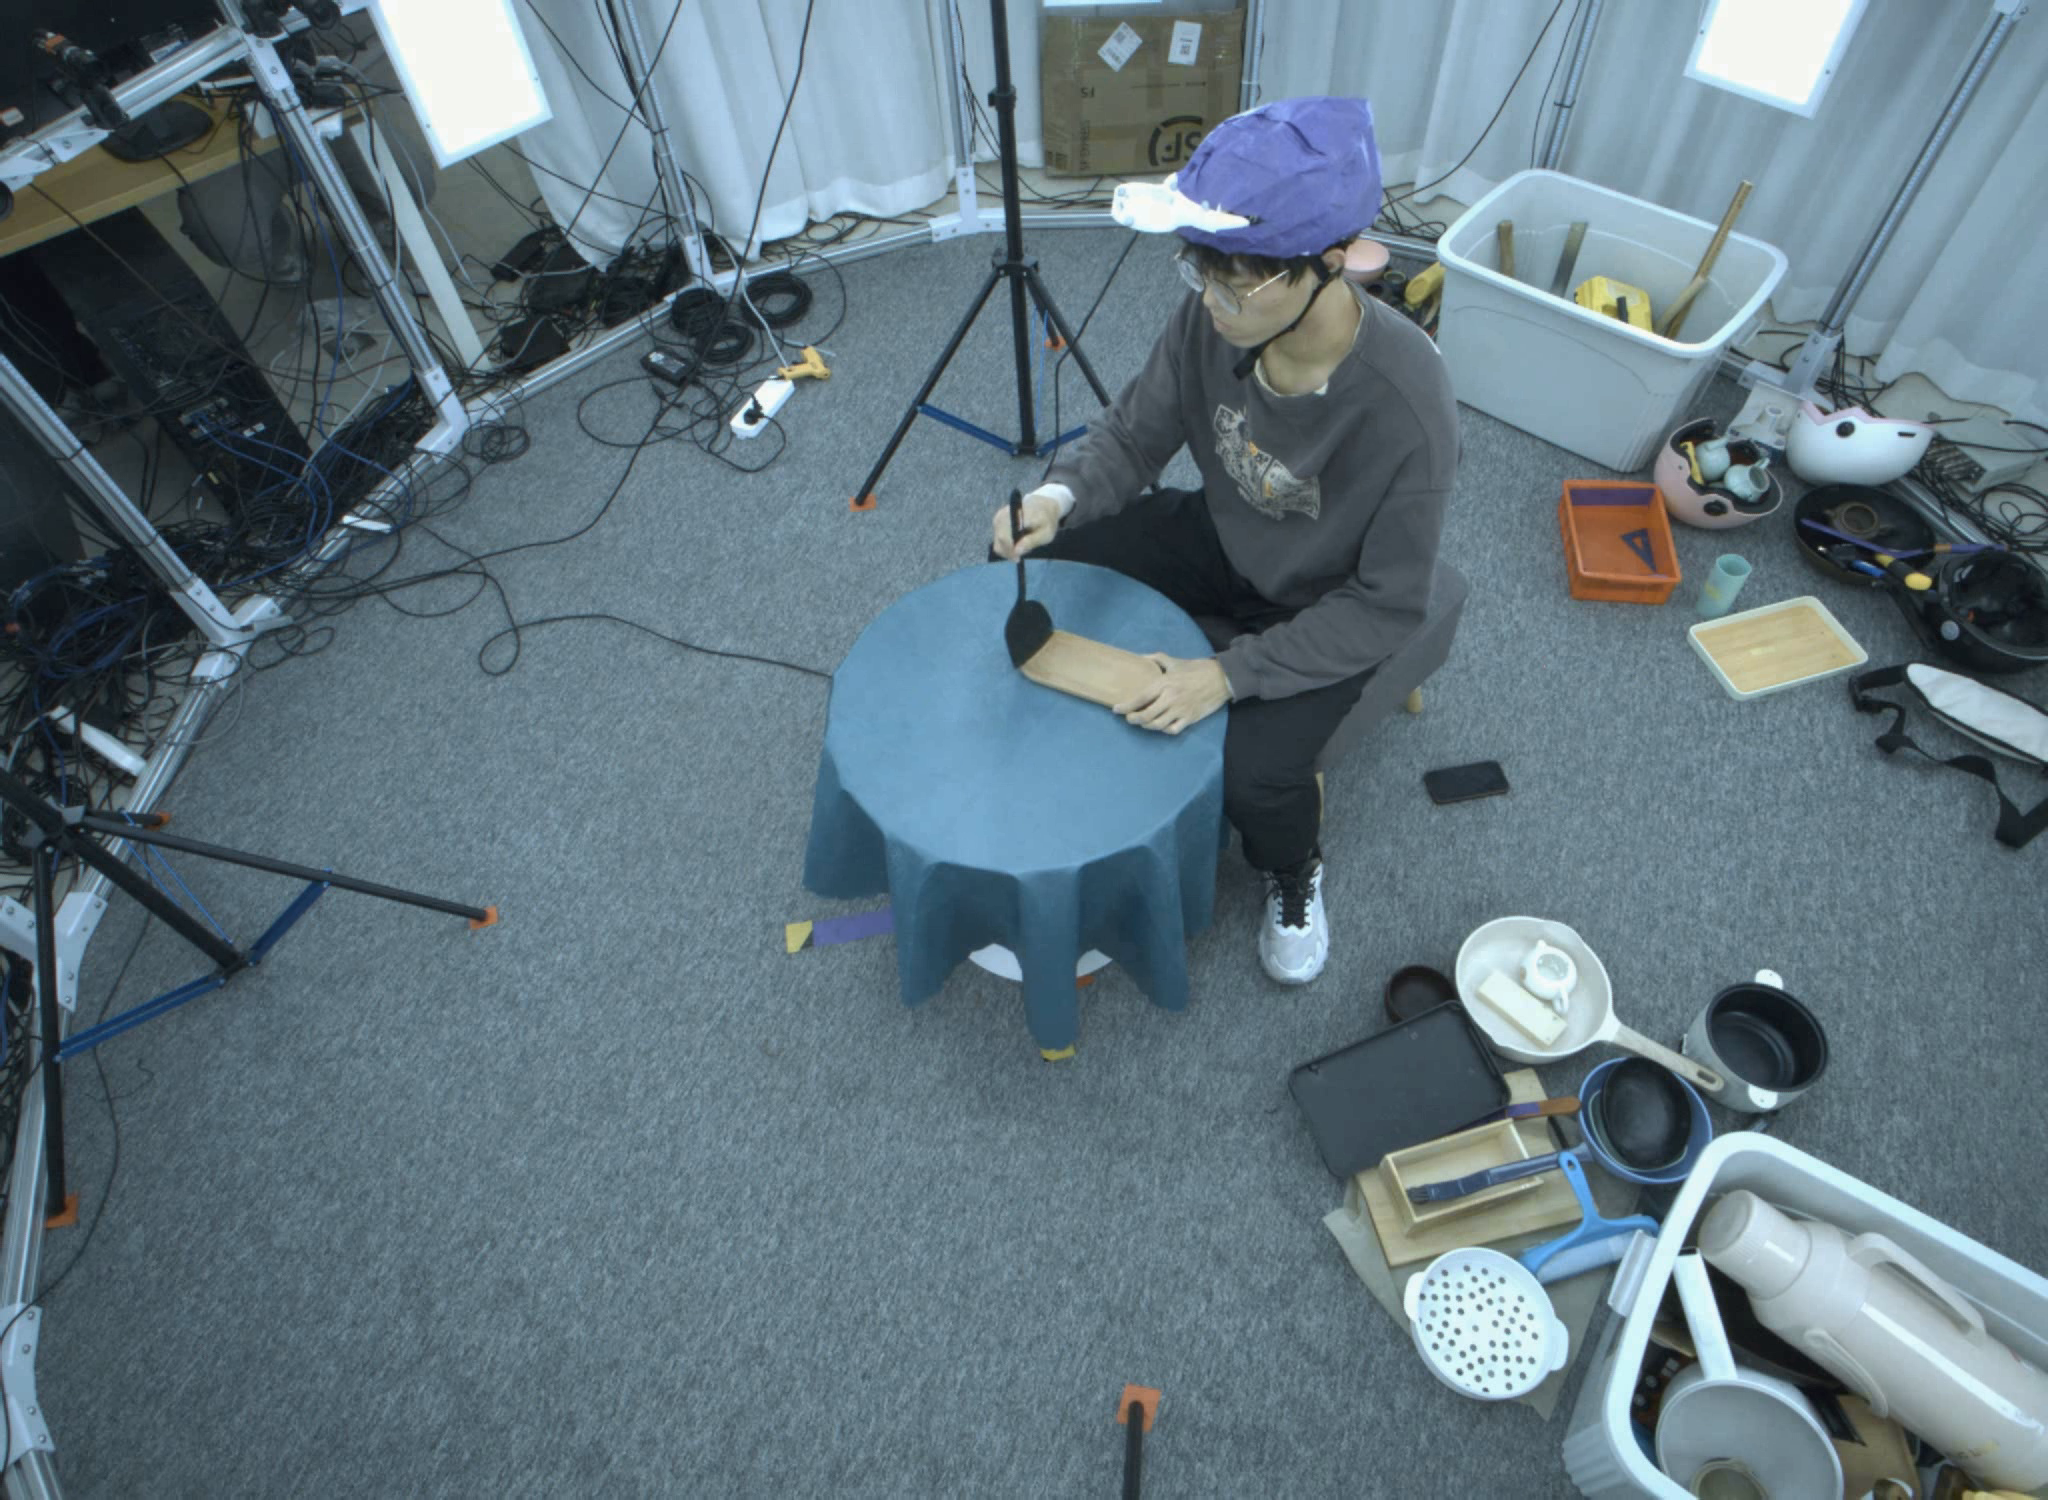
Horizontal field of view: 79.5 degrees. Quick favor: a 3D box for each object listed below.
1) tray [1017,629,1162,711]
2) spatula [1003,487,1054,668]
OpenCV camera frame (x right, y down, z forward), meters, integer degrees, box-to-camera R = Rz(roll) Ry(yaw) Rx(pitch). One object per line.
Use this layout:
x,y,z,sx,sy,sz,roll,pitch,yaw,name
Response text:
0.097,-0.121,1.857,0.228,0.020,0.102,19,59,17,tray
-0.001,-0.249,1.750,0.040,0.329,0.100,33,63,21,spatula
